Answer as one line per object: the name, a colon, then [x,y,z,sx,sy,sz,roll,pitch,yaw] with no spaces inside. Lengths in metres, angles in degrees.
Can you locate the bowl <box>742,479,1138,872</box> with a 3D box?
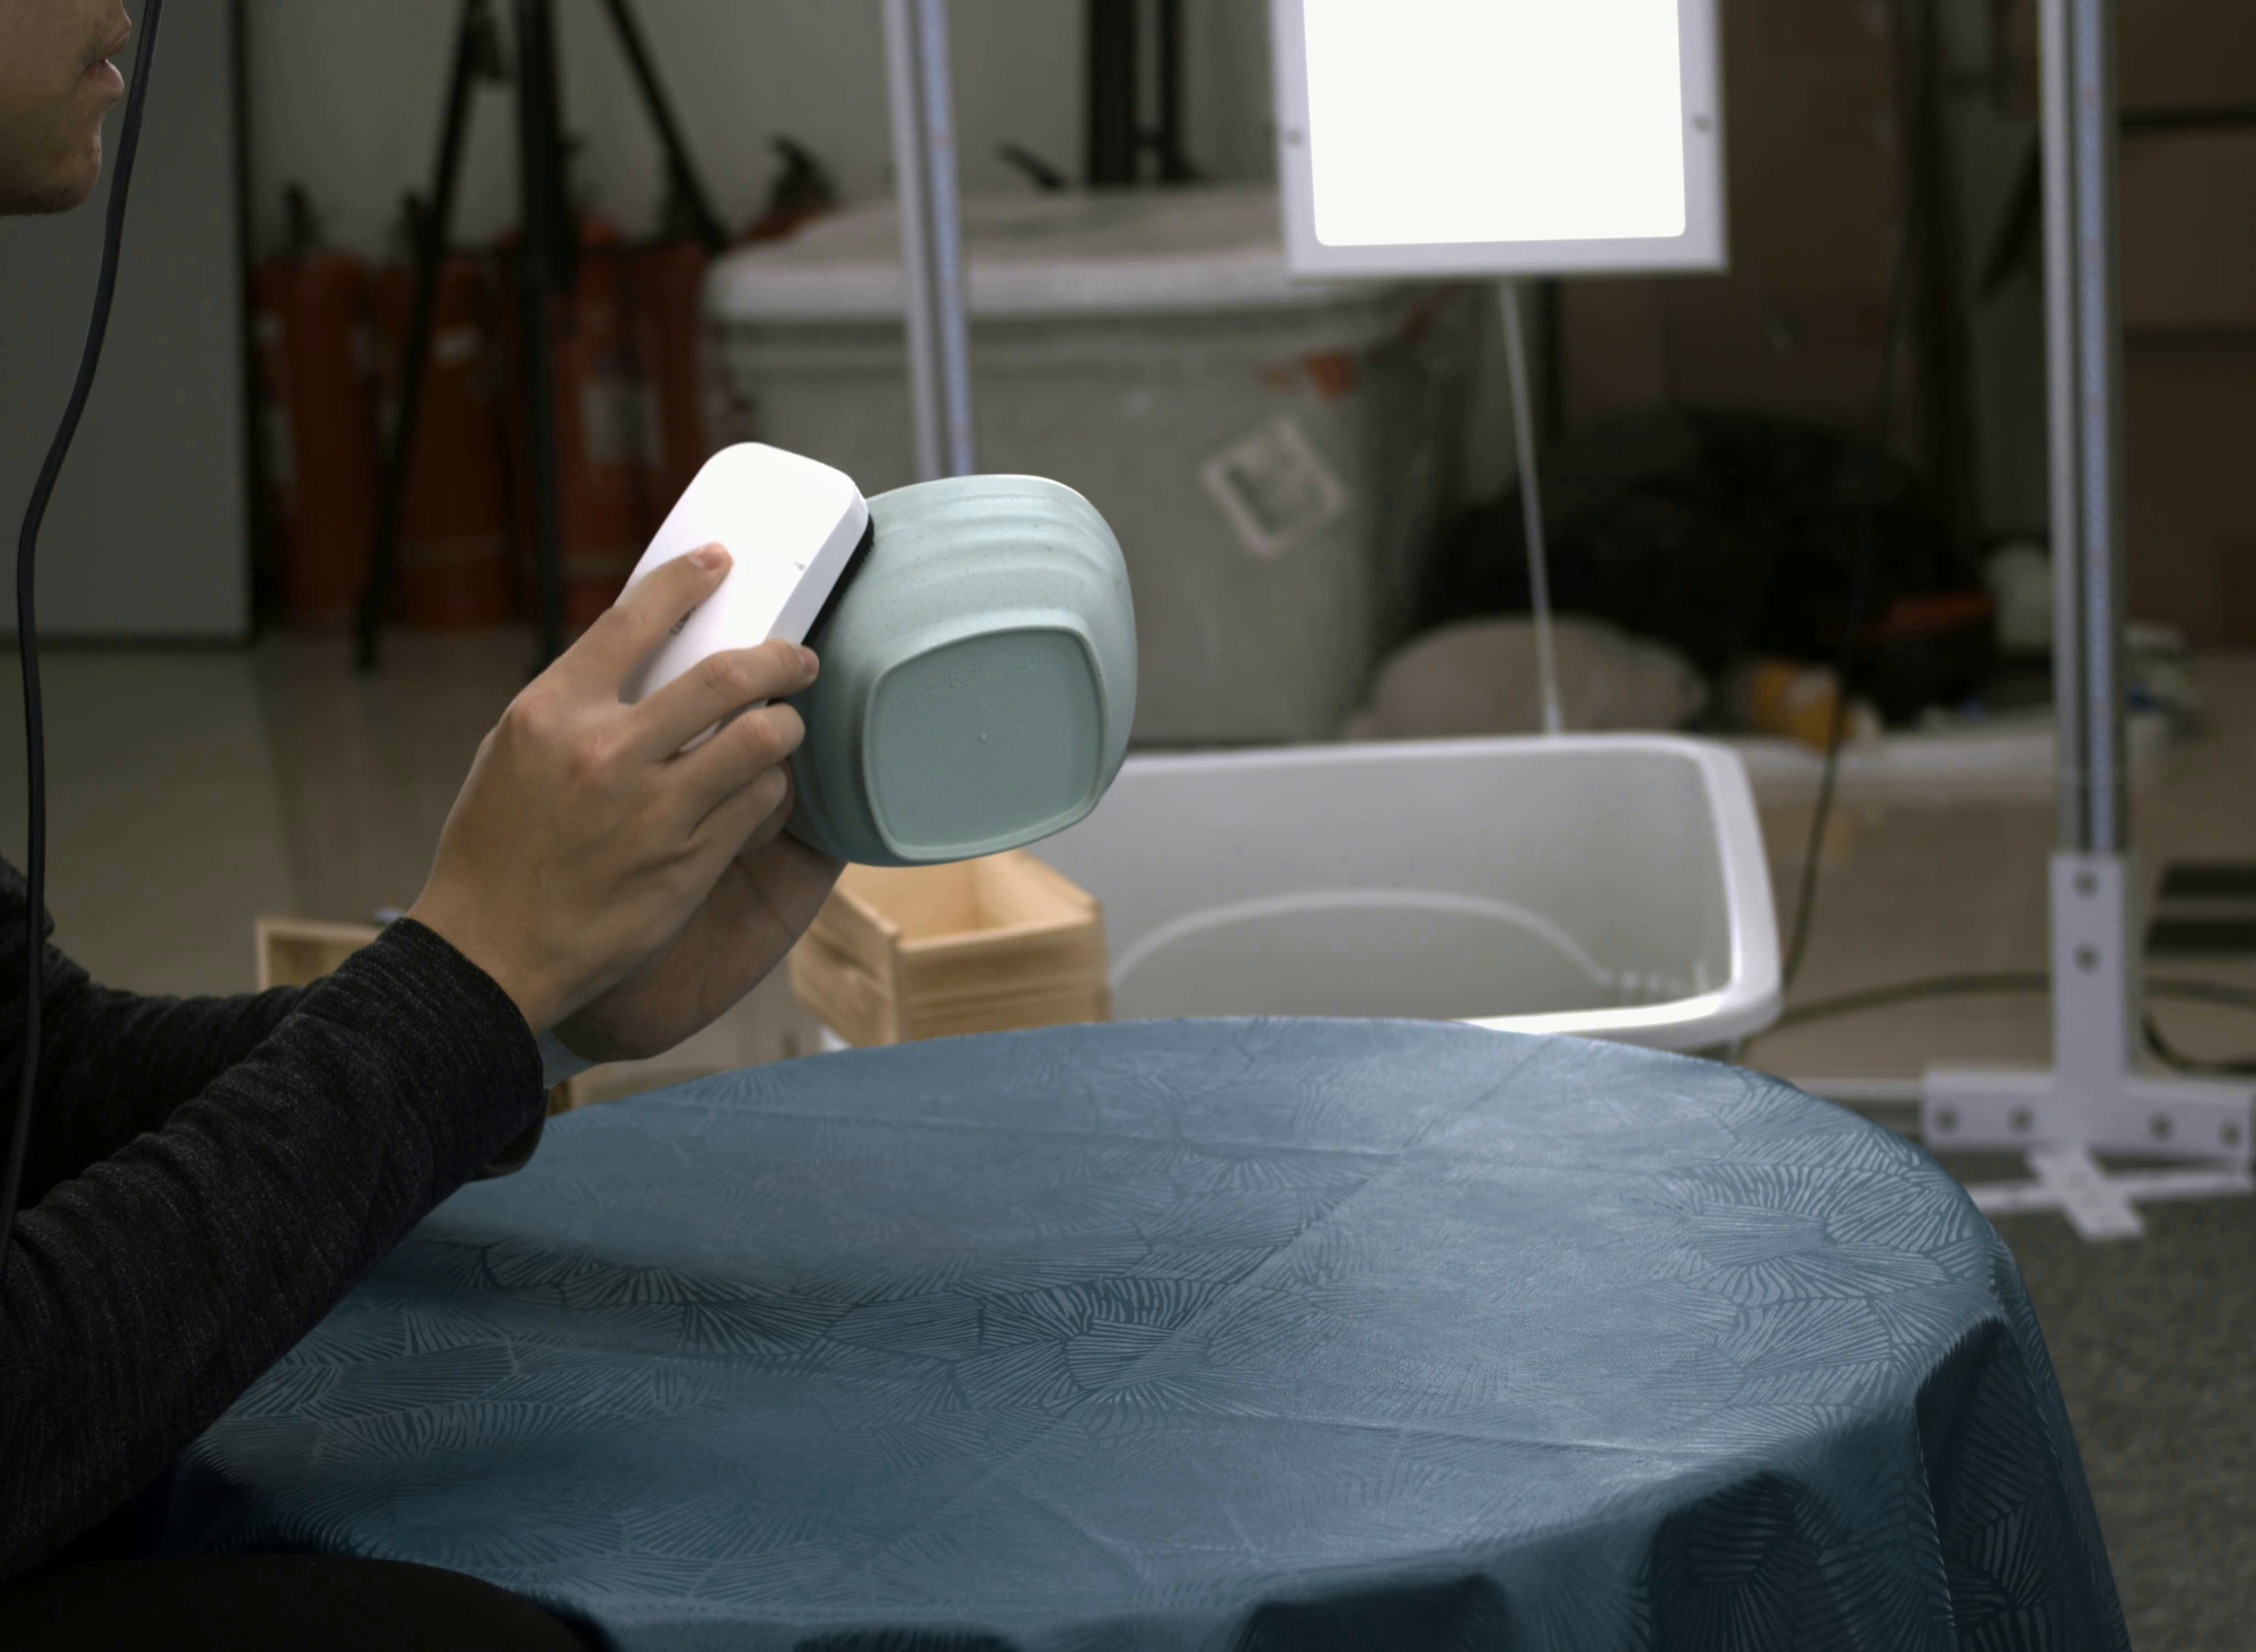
bowl: [-0.056,-0.039,1.809,0.149,0.152,0.059,-7,32,-14]

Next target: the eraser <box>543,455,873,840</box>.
eraser: [-0.135,-0.059,1.765,0.064,0.130,0.034,19,-19,36]
